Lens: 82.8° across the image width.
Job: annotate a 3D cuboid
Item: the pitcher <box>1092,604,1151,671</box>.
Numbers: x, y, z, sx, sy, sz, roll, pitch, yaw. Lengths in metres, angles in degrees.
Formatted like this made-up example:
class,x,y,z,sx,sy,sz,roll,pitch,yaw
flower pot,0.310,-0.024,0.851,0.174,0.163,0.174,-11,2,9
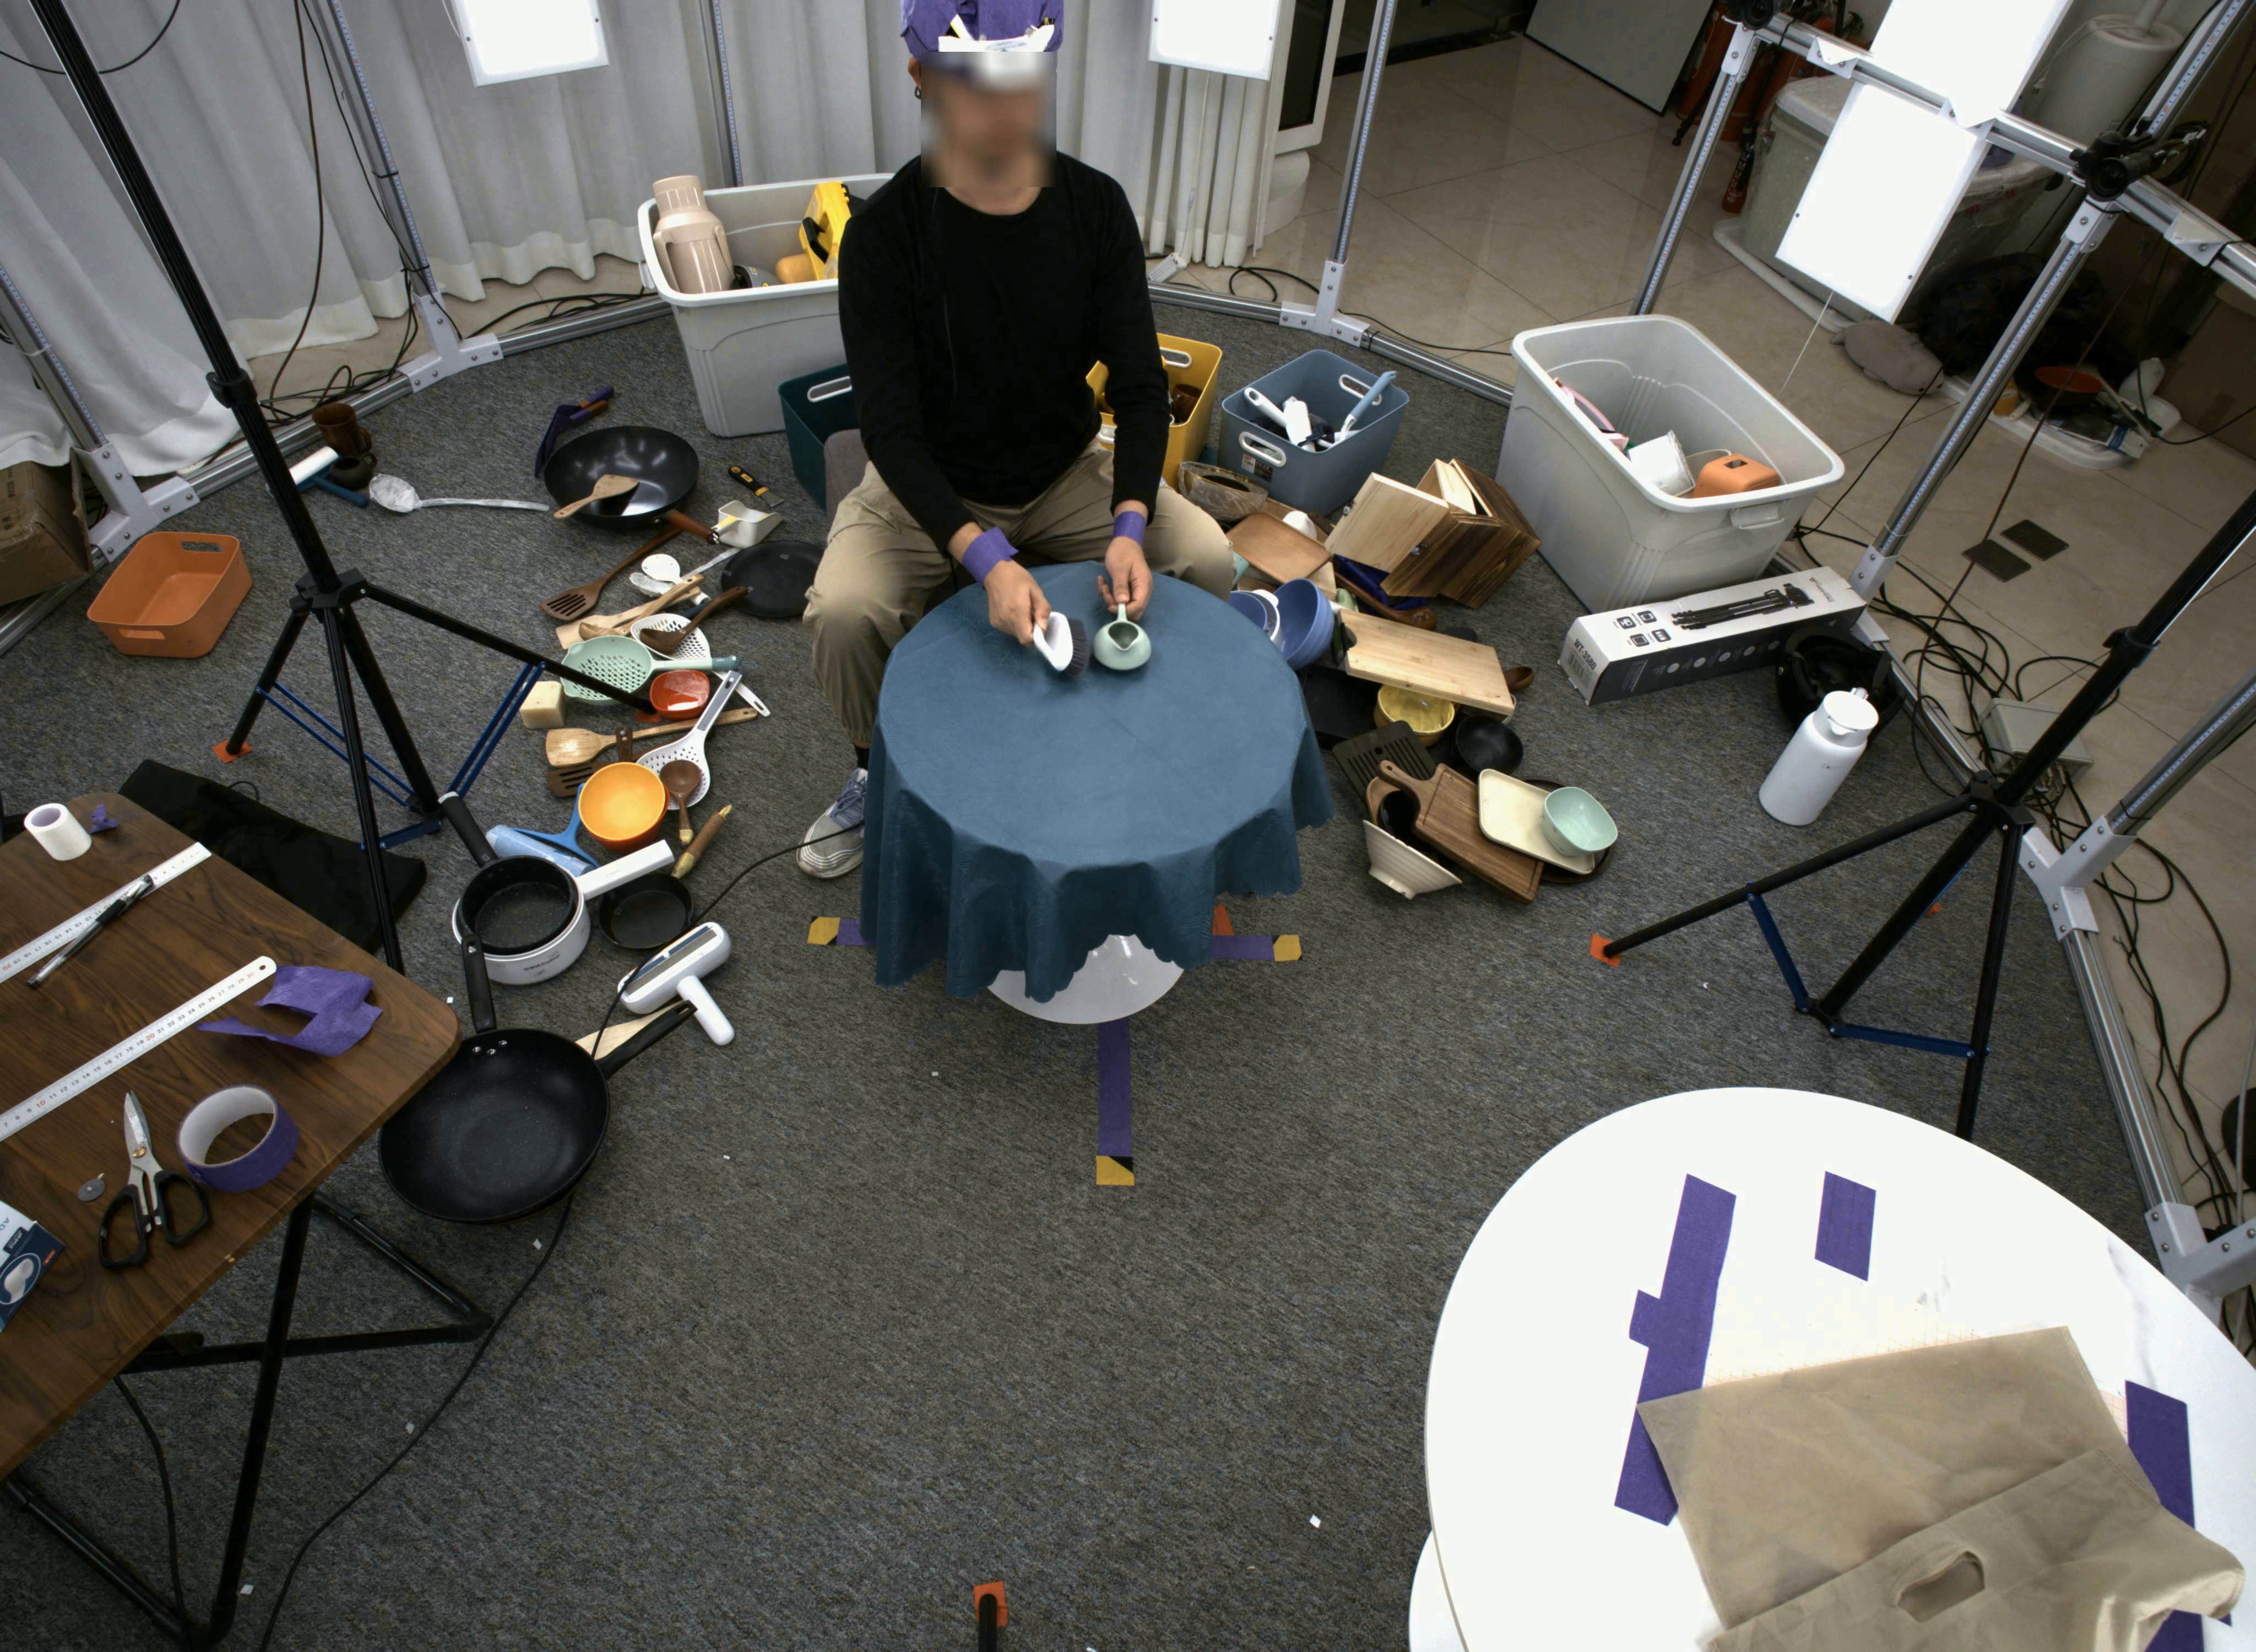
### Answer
class,x,y,z,sx,sy,sz,roll,pitch,yaw
pitcher,-0.010,-0.272,1.866,0.086,0.059,0.111,0,47,-7

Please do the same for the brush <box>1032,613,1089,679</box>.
class,x,y,z,sx,sy,sz,roll,pitch,yaw
brush,-0.102,-0.263,1.832,0.072,0.049,0.101,16,47,-32
